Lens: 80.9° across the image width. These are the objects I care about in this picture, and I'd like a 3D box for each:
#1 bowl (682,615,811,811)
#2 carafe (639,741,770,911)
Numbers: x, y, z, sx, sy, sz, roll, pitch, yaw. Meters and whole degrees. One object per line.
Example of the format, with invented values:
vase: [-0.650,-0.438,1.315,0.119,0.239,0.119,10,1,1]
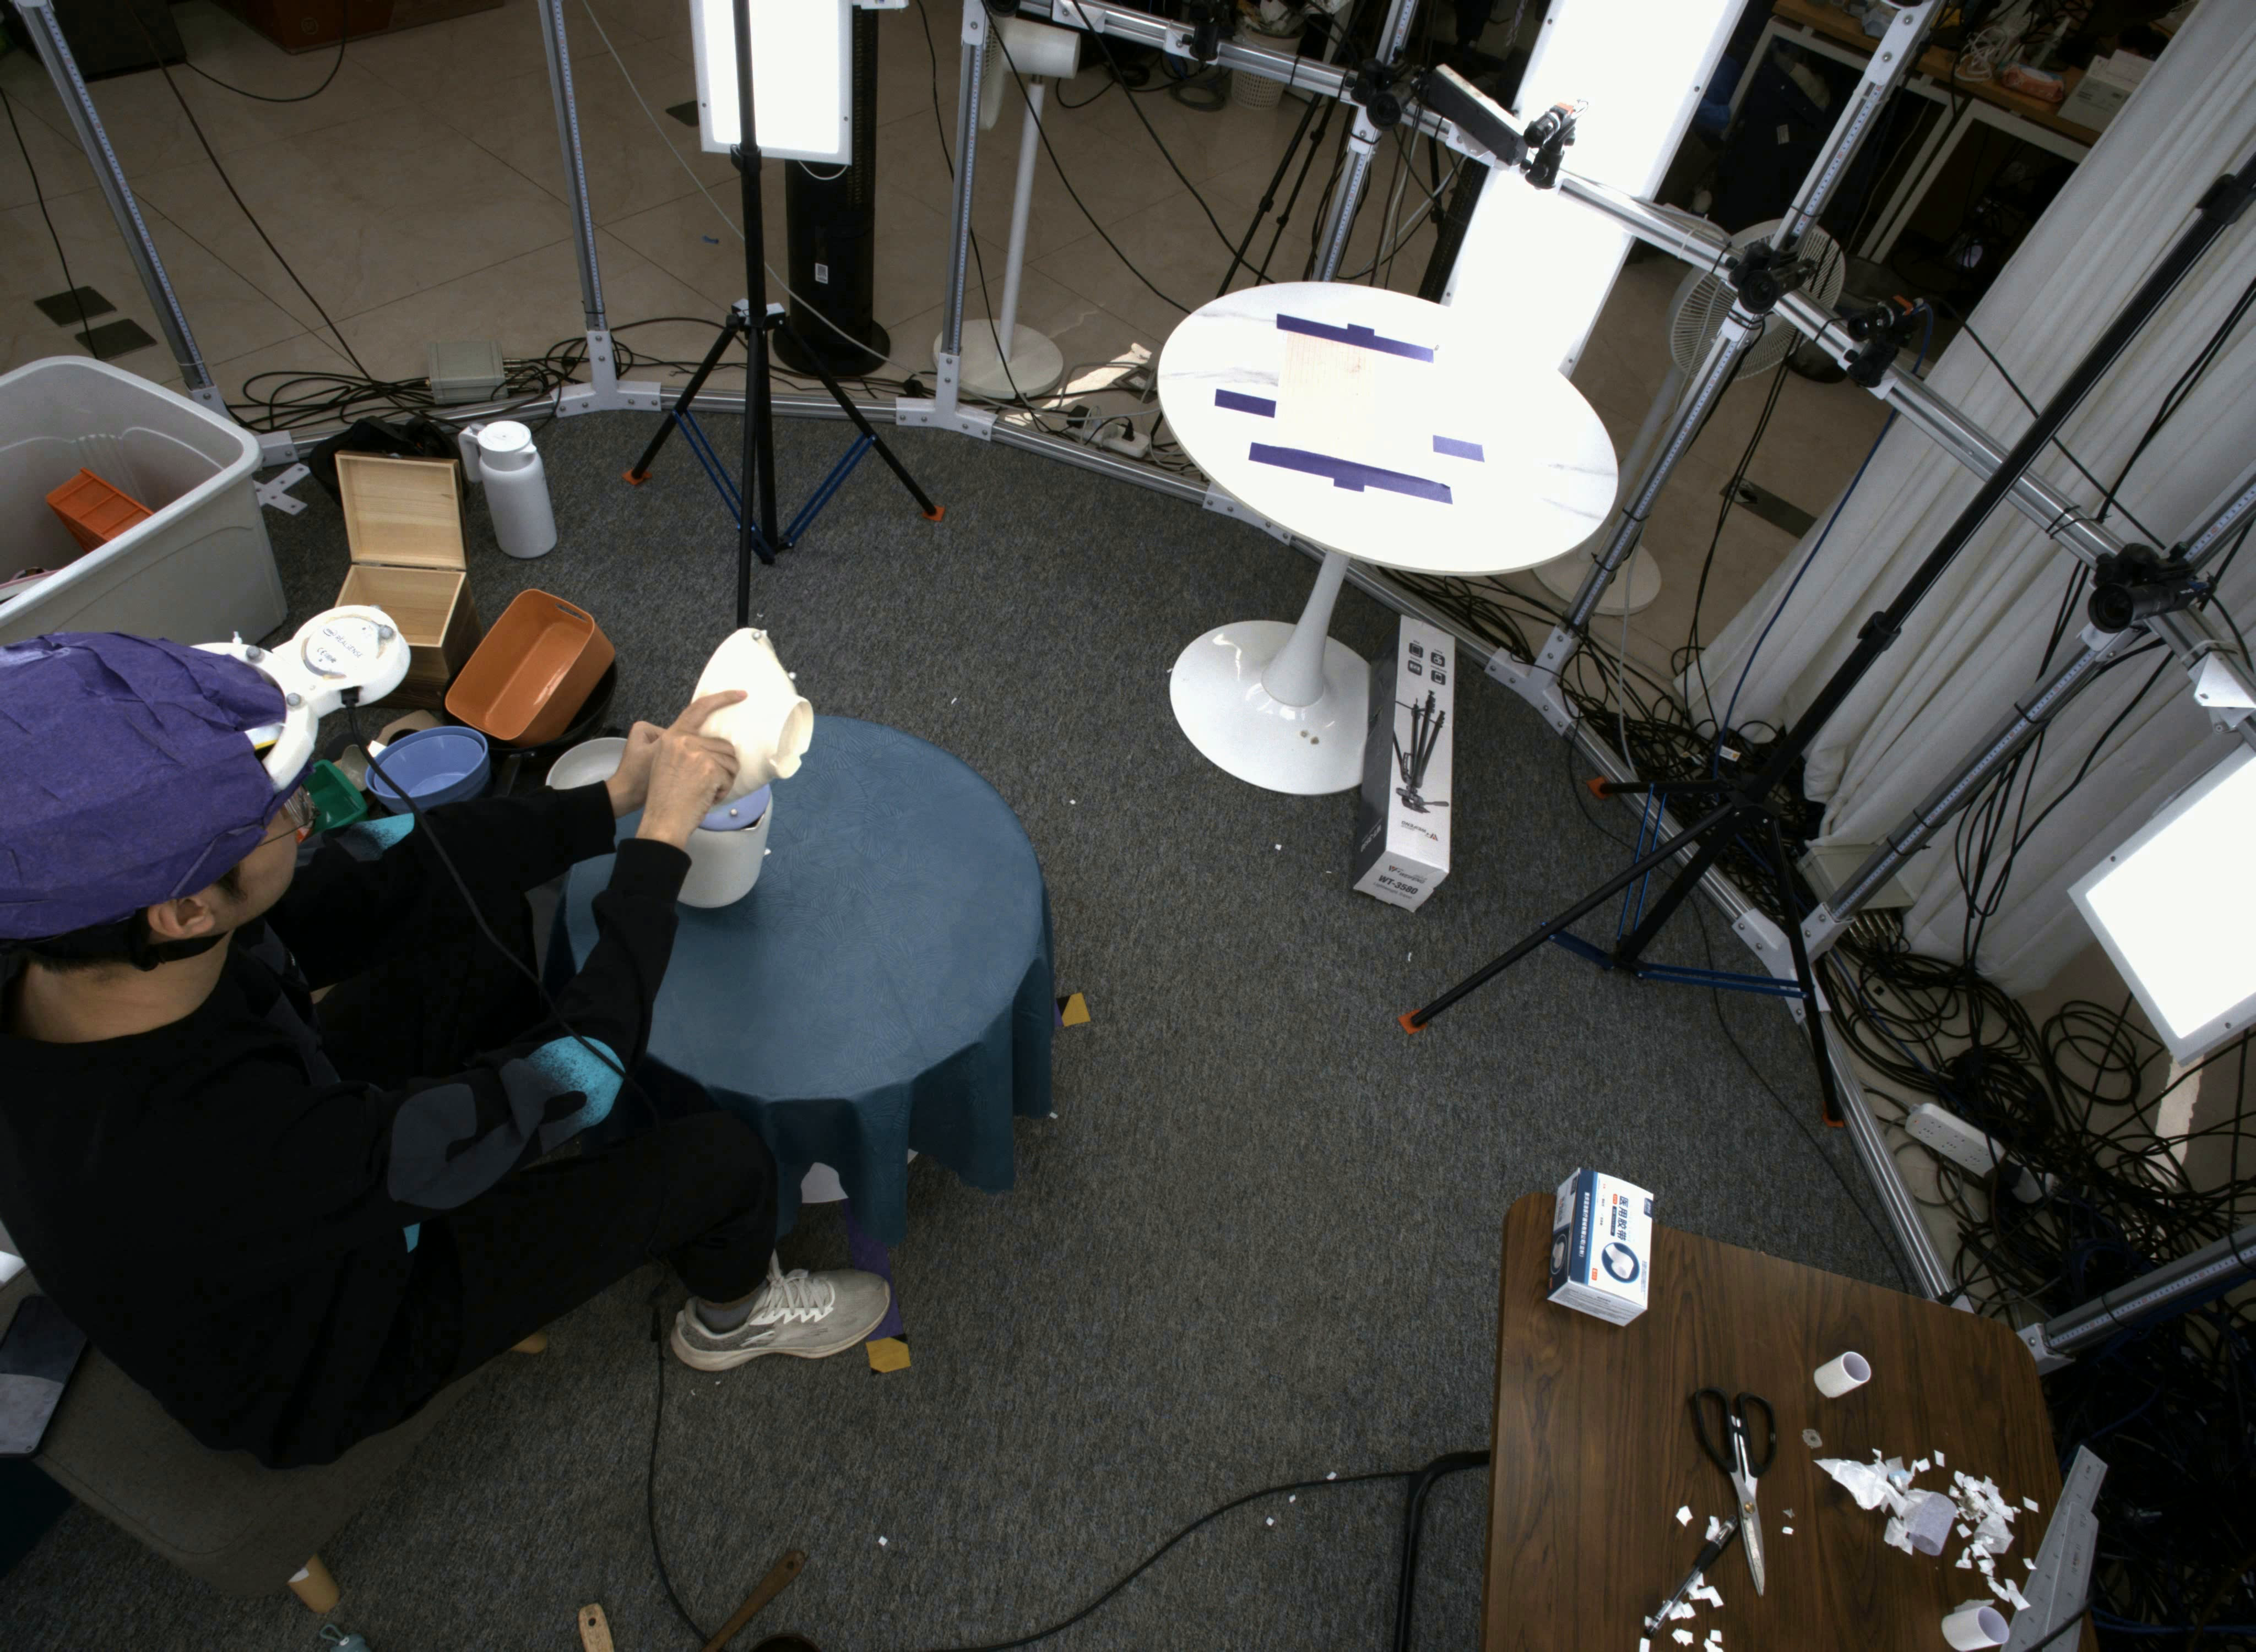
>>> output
bowl: [-0.385,-0.110,1.355,0.077,0.209,0.201,12,51,6]
carafe: [-0.519,-0.014,1.547,0.188,0.185,0.132,39,49,10]
